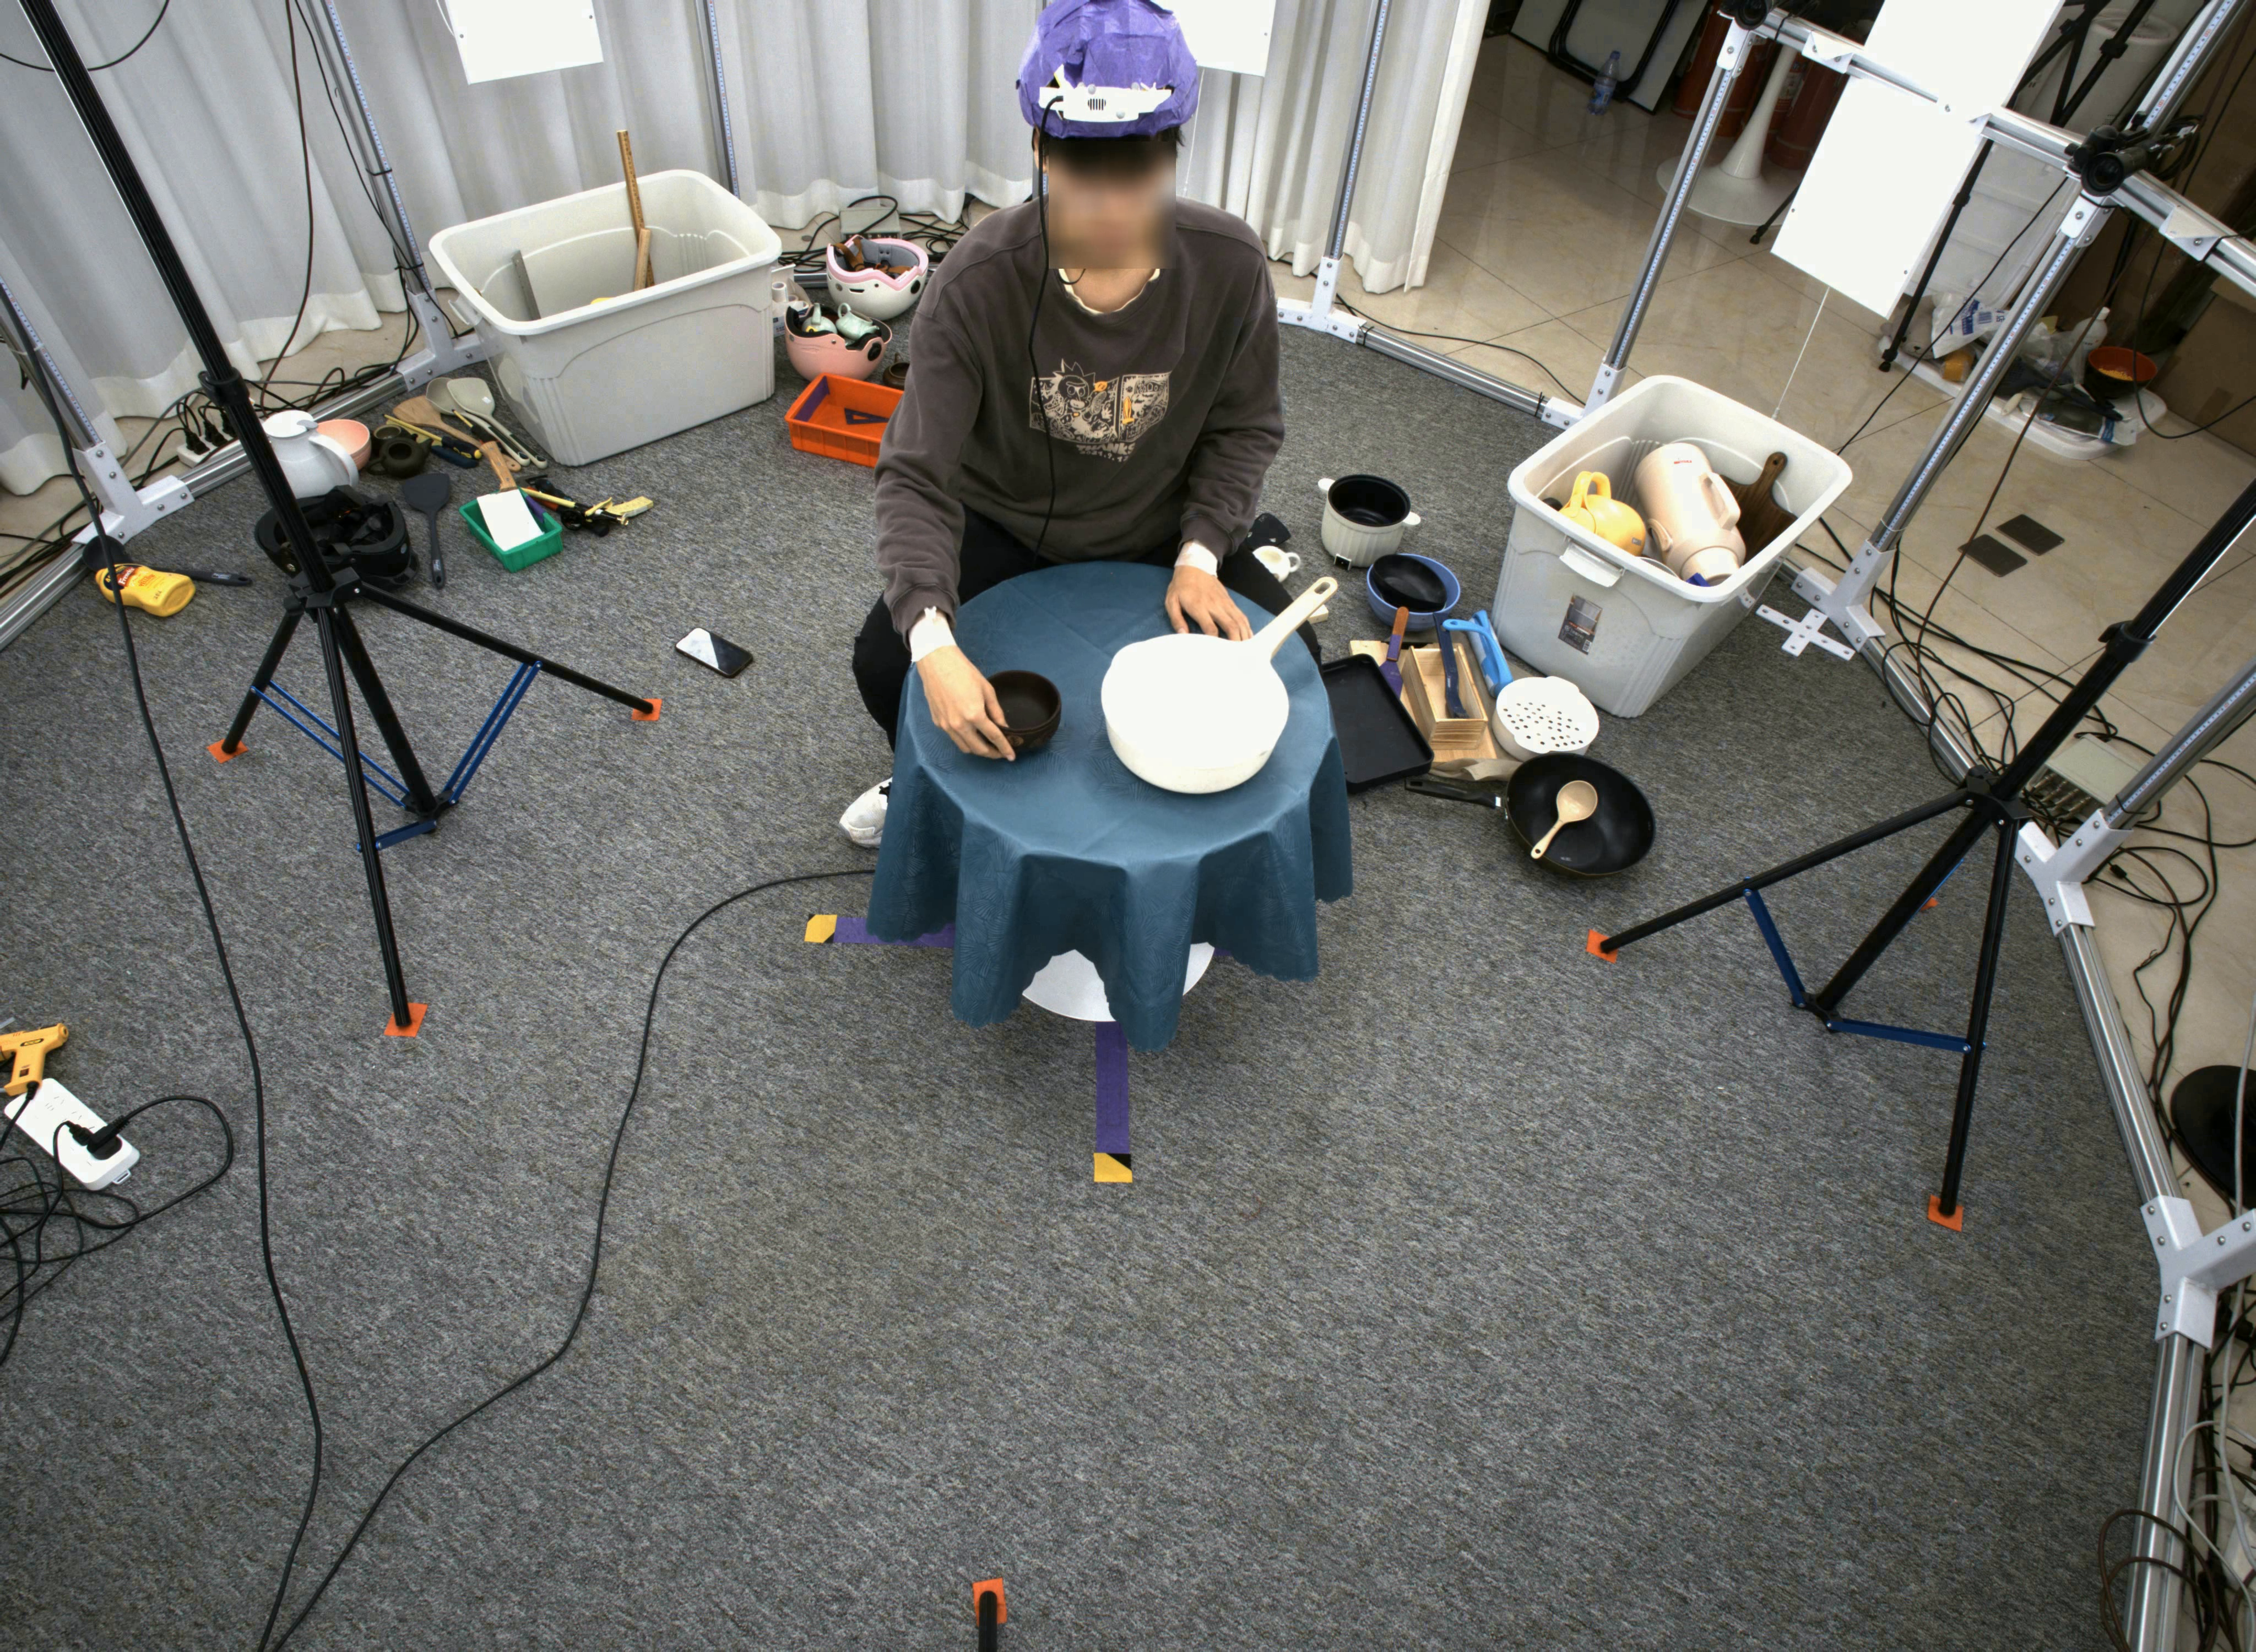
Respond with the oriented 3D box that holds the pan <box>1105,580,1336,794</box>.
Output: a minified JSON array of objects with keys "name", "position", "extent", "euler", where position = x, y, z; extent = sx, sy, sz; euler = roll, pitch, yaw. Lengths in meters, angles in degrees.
[{"name":"pan","position":[0.154,-0.201,1.786],"extent":[0.267,0.099,0.439],"euler":[33,55,25]}]

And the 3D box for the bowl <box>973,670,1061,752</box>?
[{"name":"bowl","position":[-0.150,-0.147,1.738],"extent":[0.118,0.068,0.121],"euler":[1,50,-1]}]
